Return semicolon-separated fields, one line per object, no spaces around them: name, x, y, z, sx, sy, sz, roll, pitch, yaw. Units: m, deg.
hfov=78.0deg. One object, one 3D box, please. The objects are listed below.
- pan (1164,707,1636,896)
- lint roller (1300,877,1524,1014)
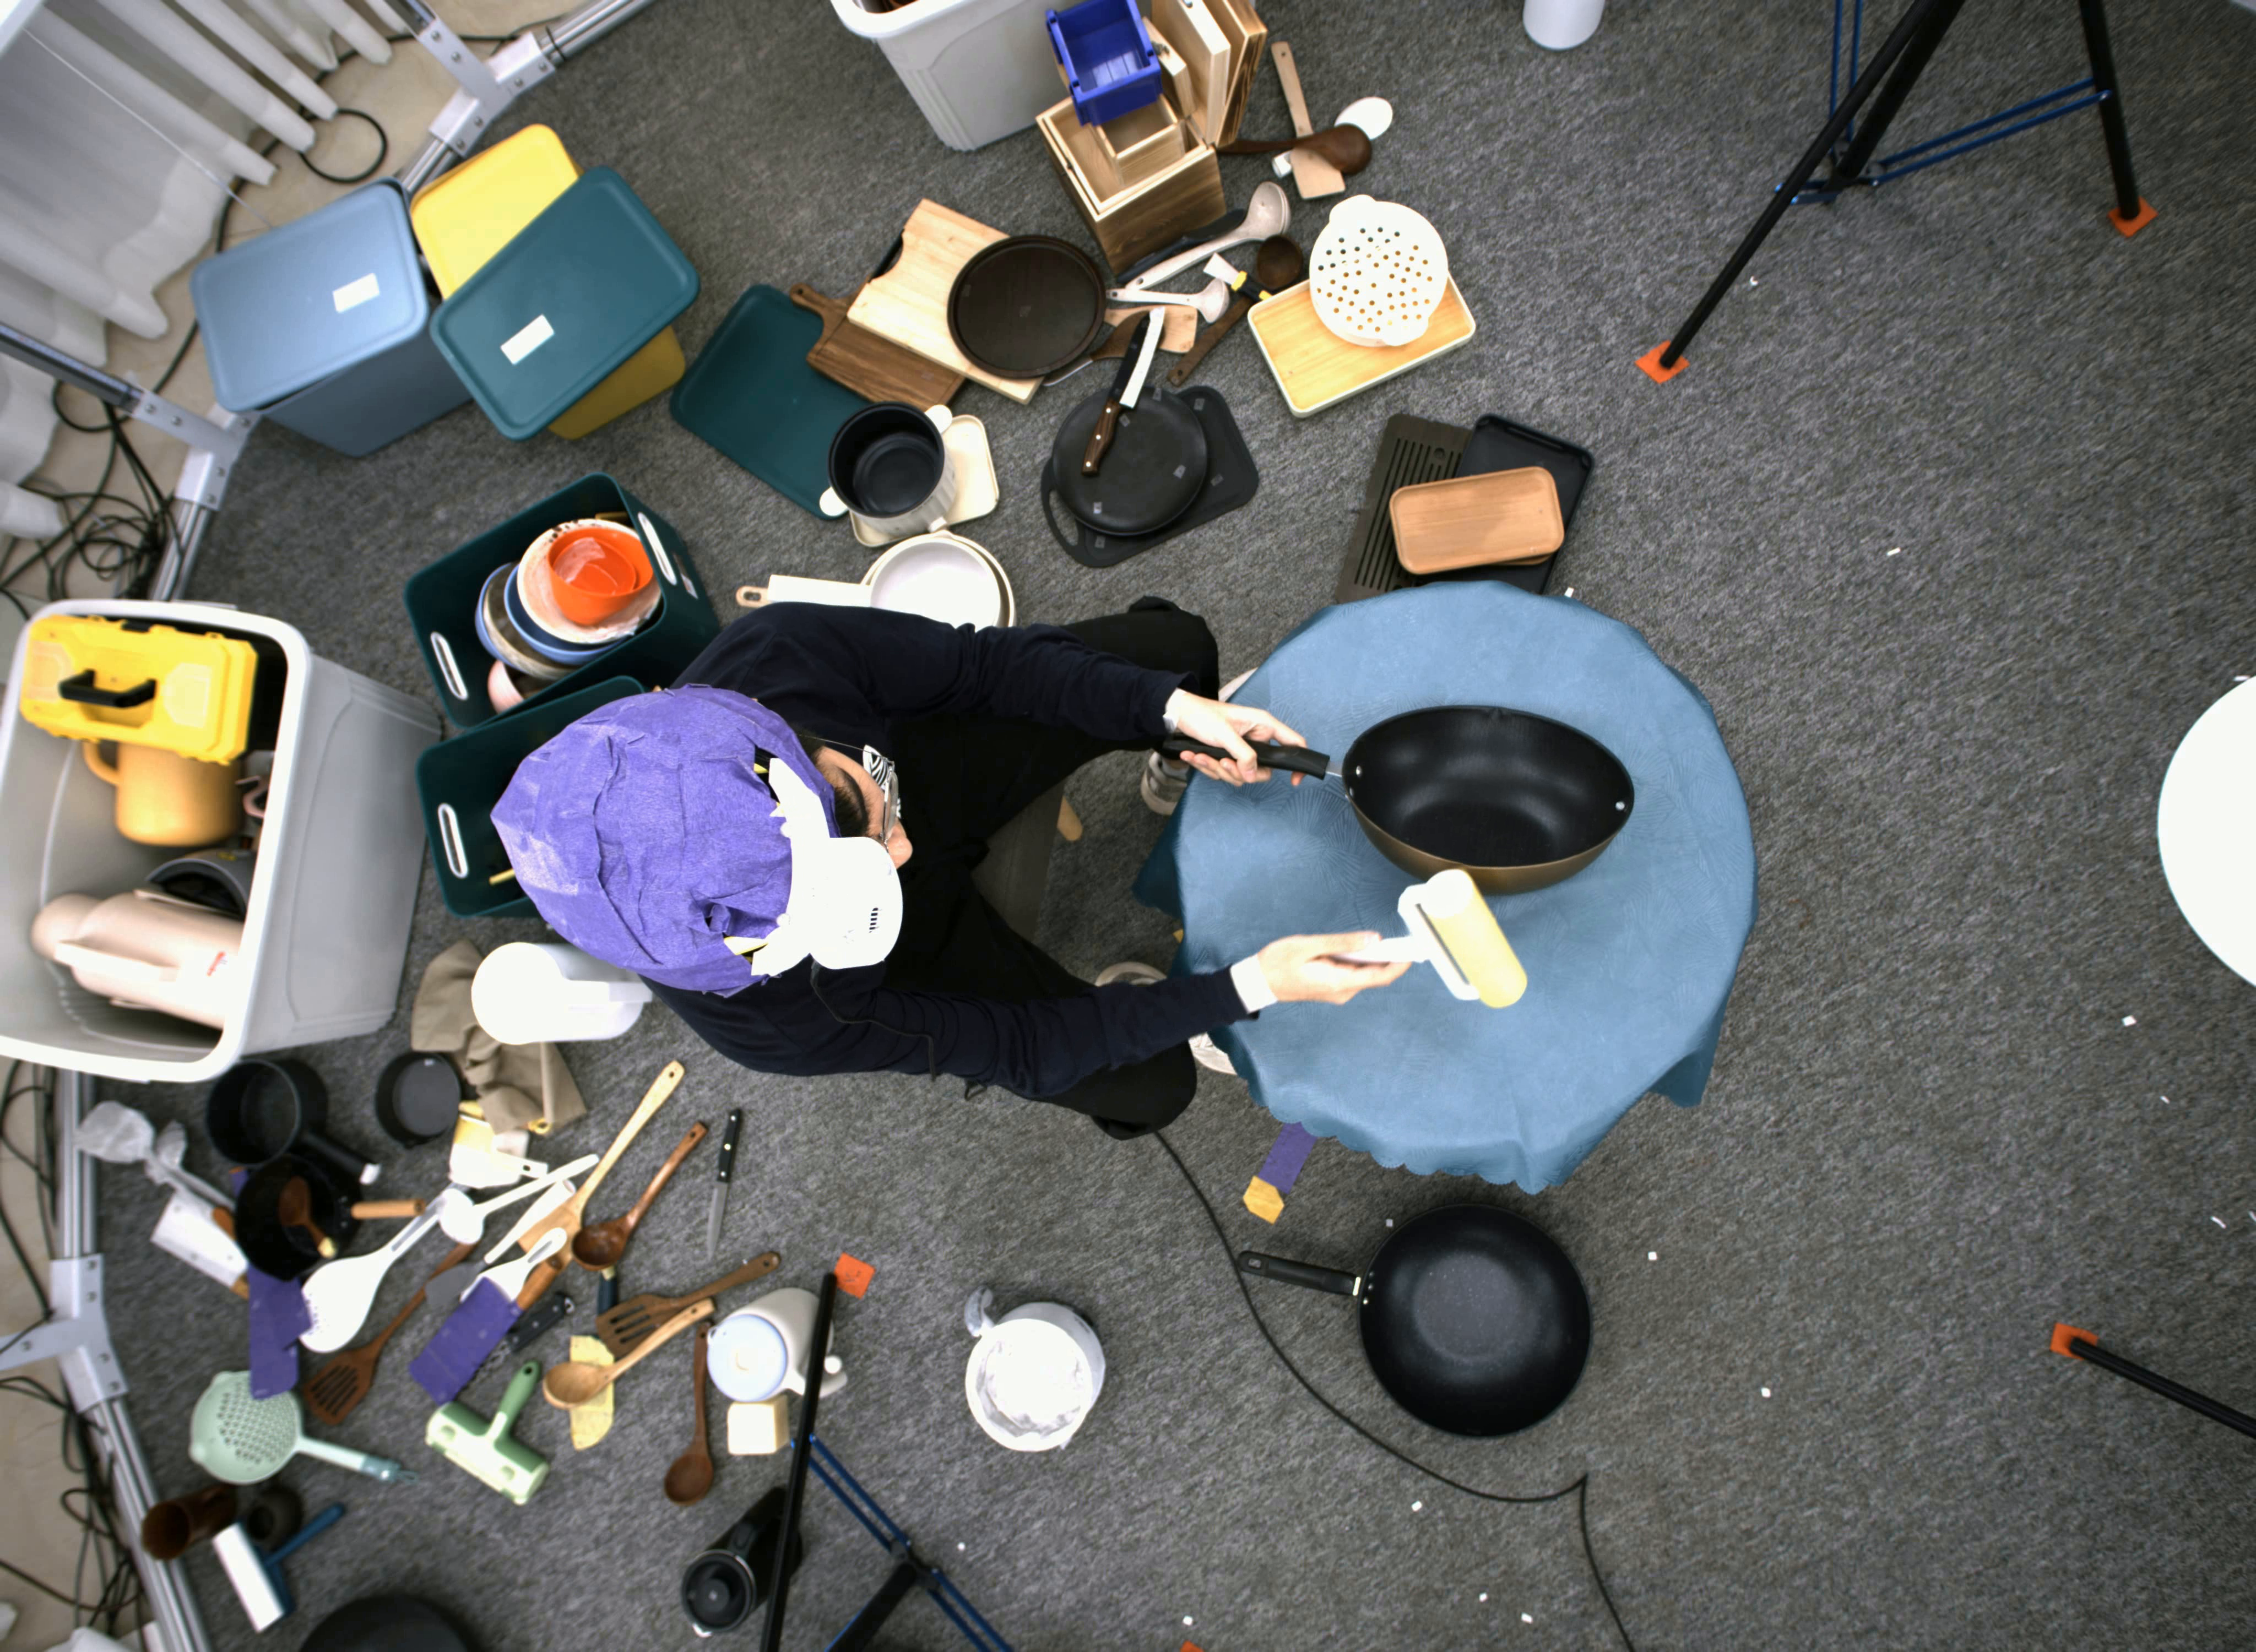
pan;0.260;-0.029;1.375;0.465;0.280;0.089;7;127;16
lint roller;0.248;0.127;1.277;0.194;0.177;0.050;-18;46;25
